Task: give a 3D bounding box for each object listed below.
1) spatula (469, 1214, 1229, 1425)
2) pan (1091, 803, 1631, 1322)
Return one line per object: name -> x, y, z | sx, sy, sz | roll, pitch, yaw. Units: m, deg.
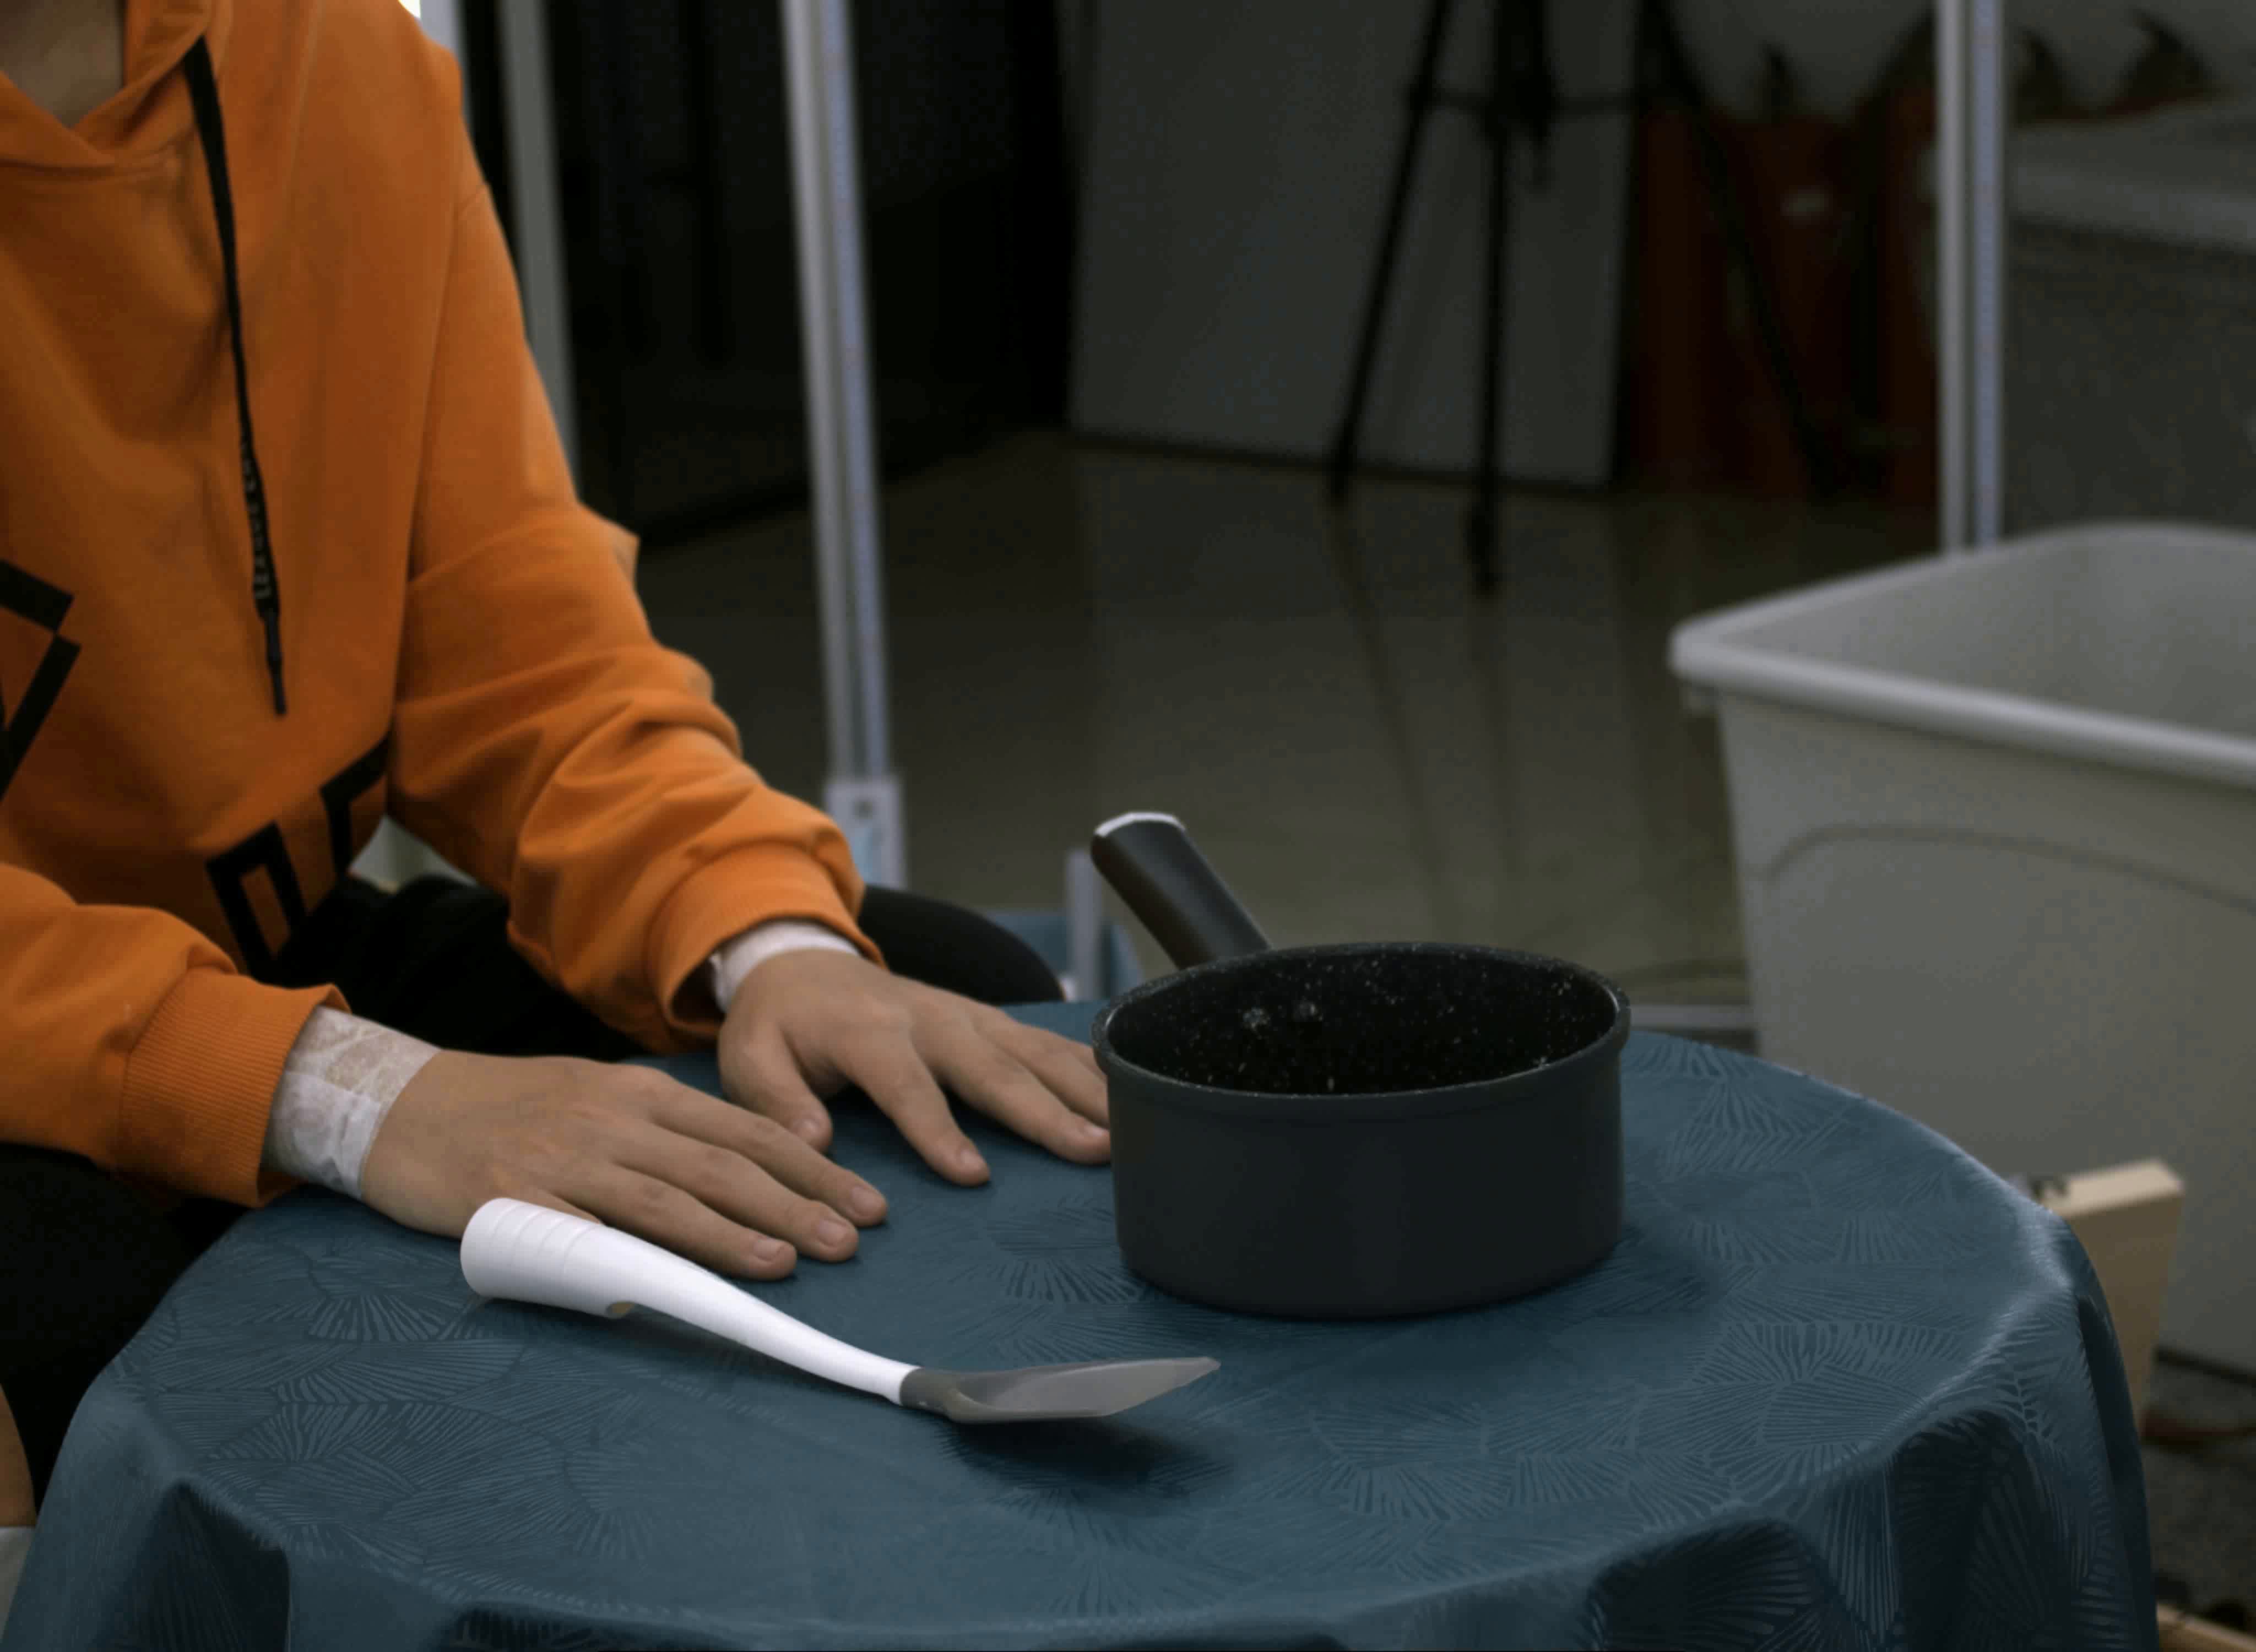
spatula -> -0.090, 0.152, 1.608 | 0.290, 0.032, 0.057 | 7, 13, 42
pan -> 0.055, 0.073, 1.770 | 0.169, 0.087, 0.331 | -7, 16, -13
